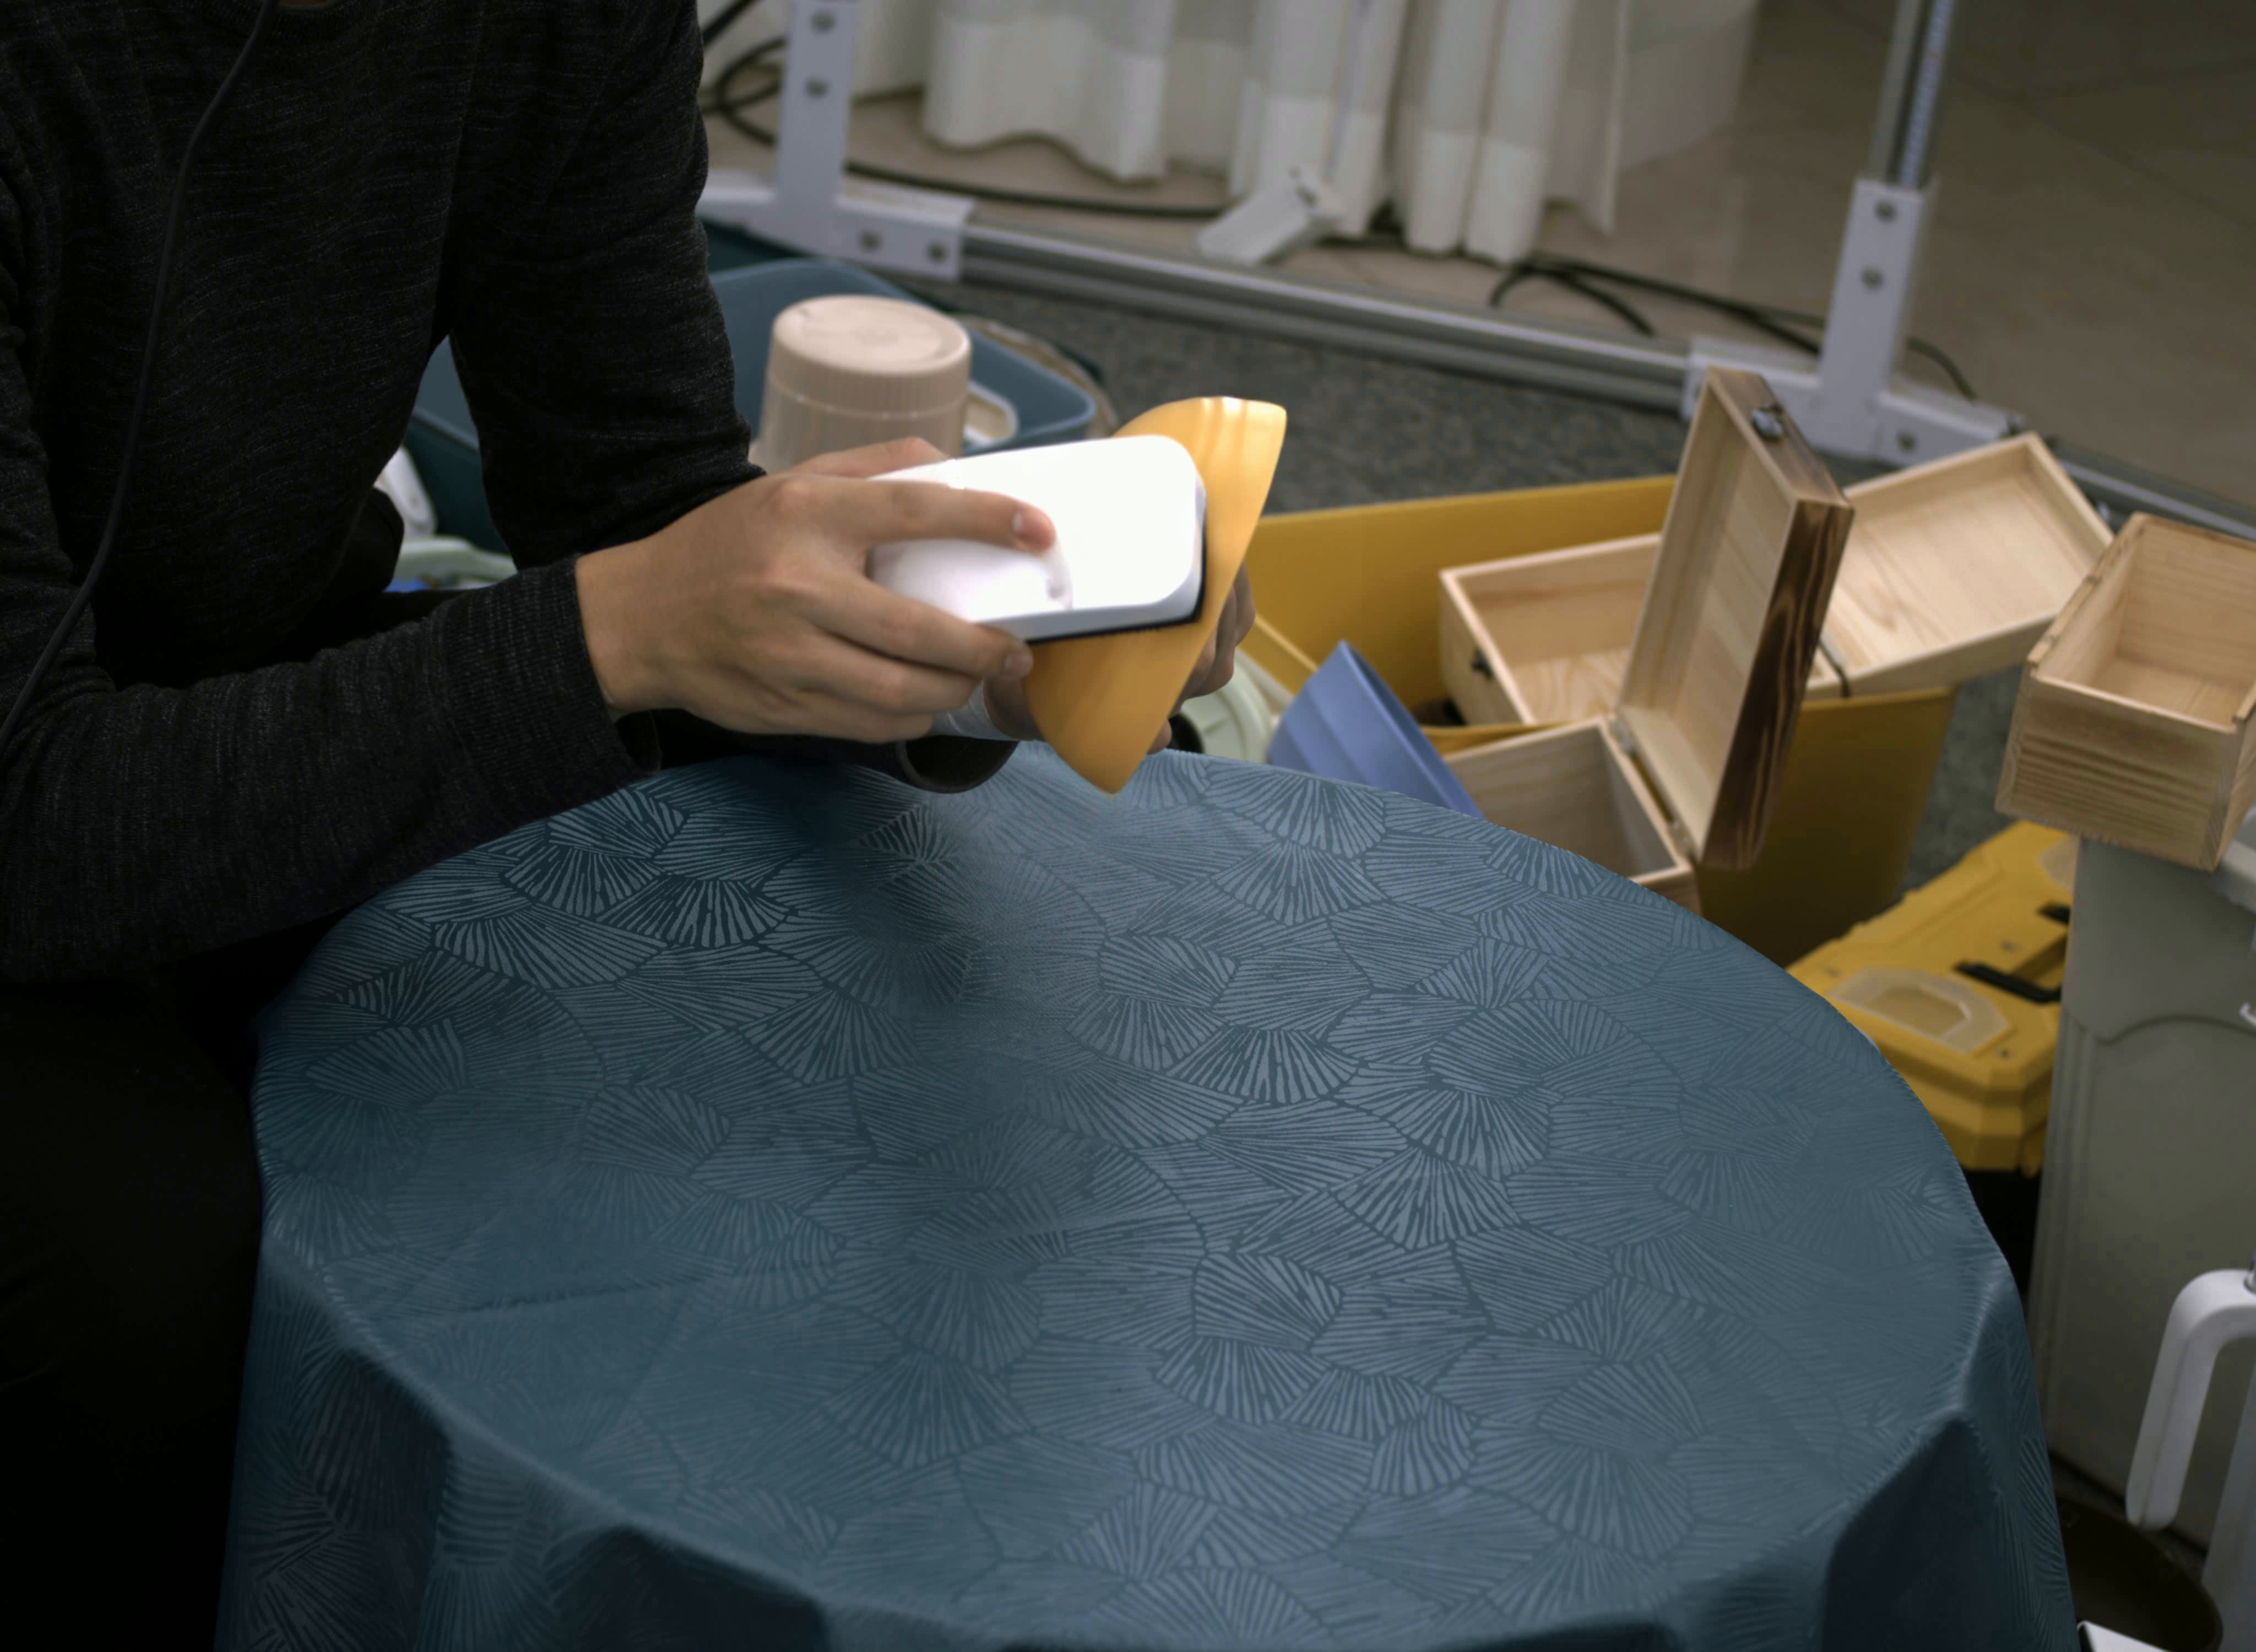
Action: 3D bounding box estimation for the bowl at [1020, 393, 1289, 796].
[{"bbox_3d":[-0.002,-0.087,1.783,0.060,0.145,0.146,23,26,-6],"label":"bowl"}]

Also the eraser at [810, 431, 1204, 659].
[{"bbox_3d":[-0.039,-0.092,1.725,0.131,0.034,0.064,-6,62,21],"label":"eraser"}]
